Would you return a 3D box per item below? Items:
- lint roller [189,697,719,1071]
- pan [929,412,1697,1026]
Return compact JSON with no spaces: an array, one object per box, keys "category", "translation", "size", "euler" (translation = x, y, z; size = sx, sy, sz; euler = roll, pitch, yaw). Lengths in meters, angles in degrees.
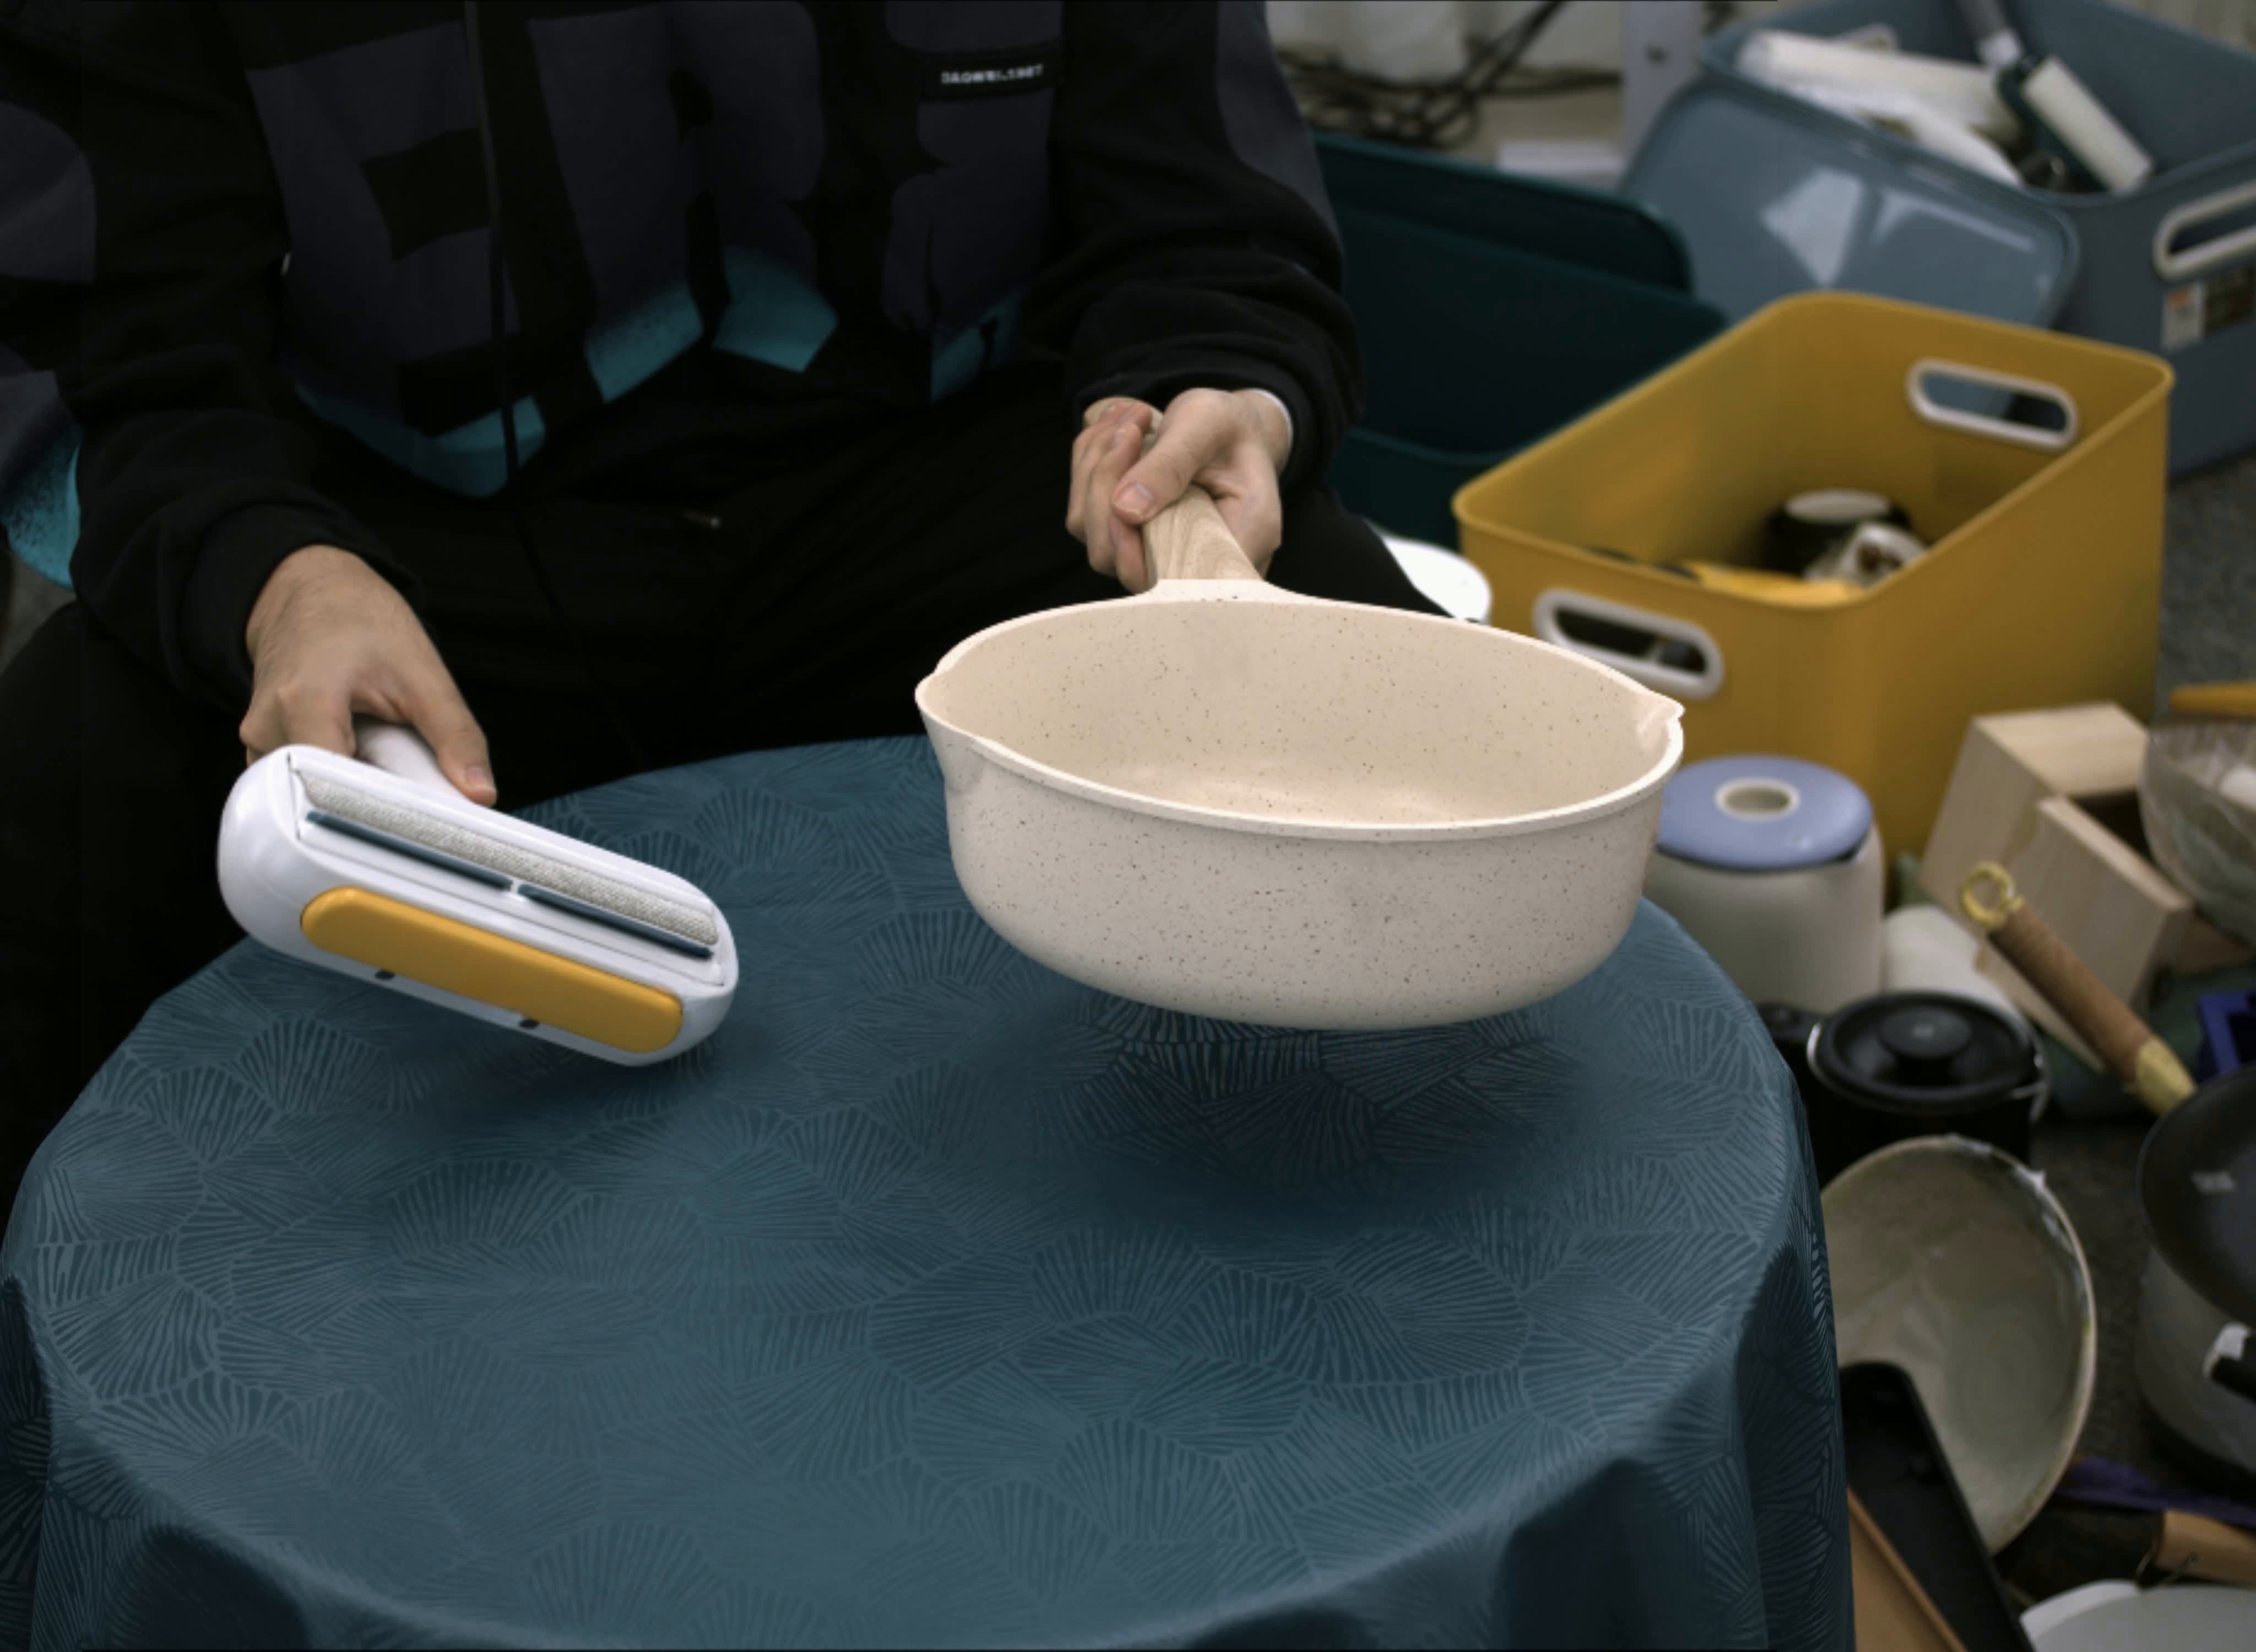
[{"category":"lint roller","translation":[-0.243,0.001,1.953],"size":[0.192,0.073,0.195],"euler":[18,28,-26]},{"category":"pan","translation":[0.041,-0.040,1.965],"size":[0.263,0.101,0.438],"euler":[-2,19,-13]}]
